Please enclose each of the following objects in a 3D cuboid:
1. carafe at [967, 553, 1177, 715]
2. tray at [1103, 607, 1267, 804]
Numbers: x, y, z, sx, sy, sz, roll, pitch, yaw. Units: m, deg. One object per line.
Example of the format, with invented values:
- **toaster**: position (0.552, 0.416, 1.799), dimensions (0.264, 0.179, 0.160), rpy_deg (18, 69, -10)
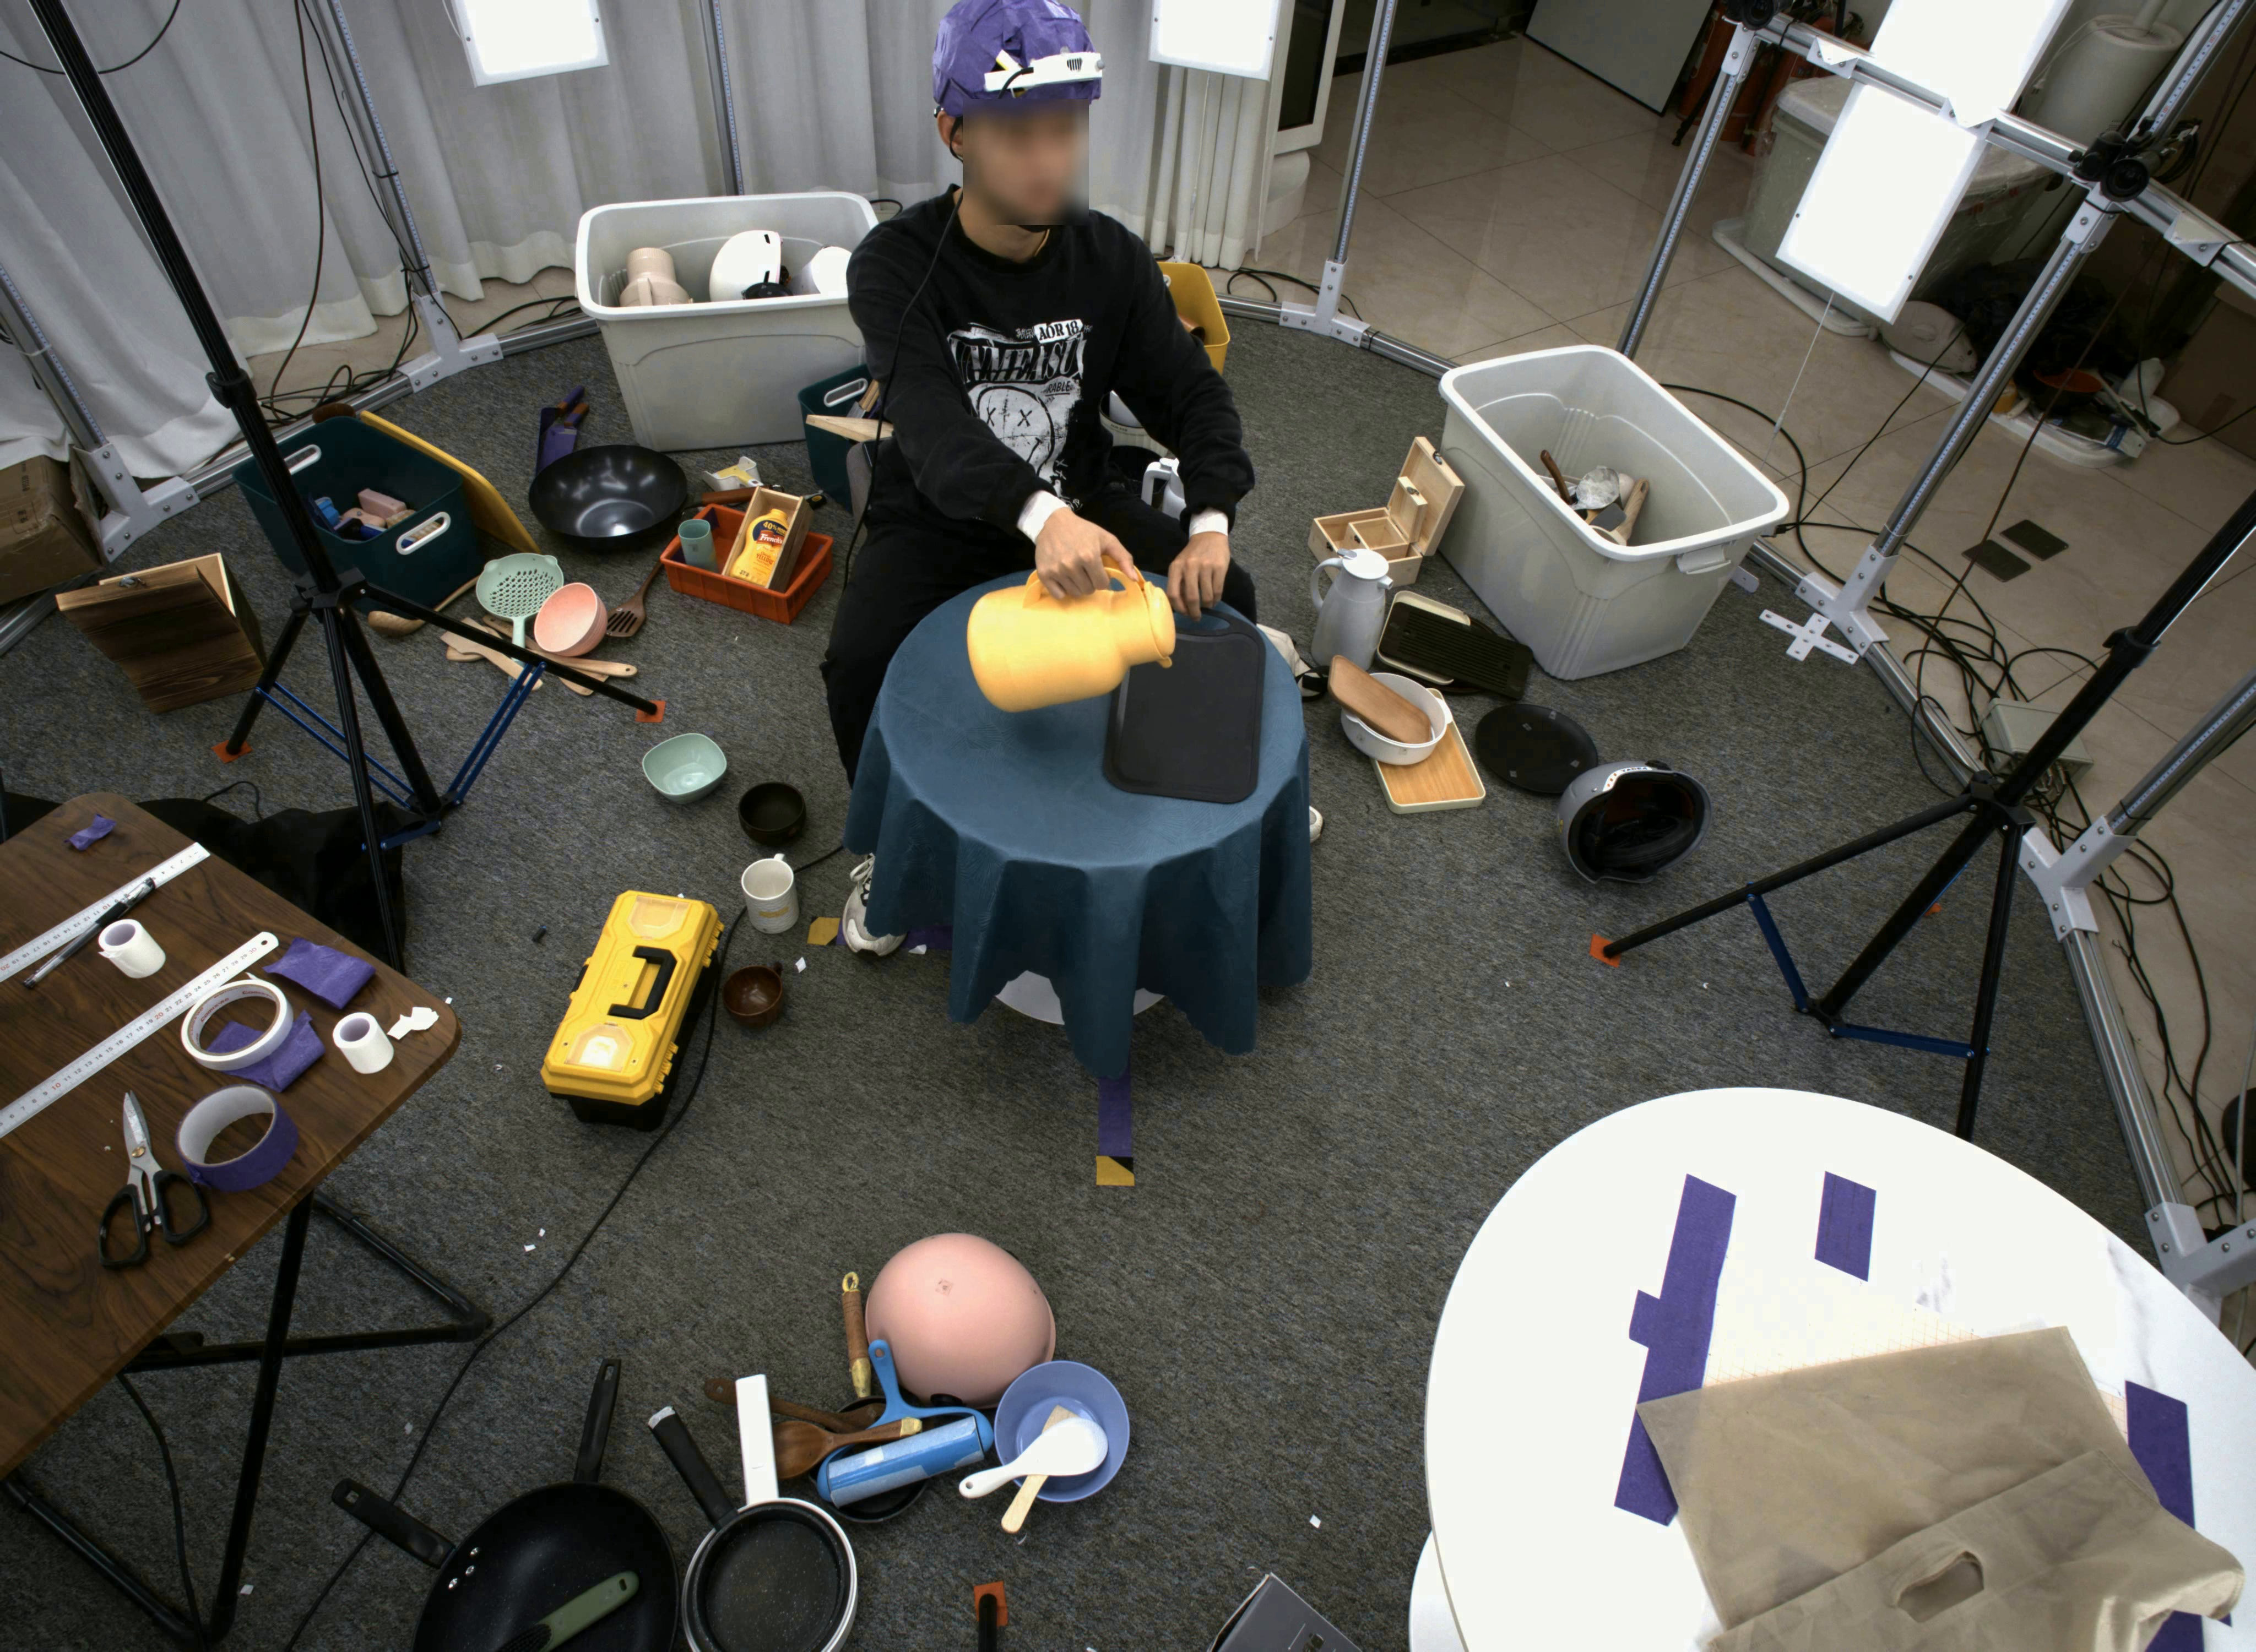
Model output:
- **carafe**: position (-0.074, -0.256, 1.661), dimensions (0.260, 0.197, 0.167), rpy_deg (-11, 46, 14)
- **tray**: position (0.083, -0.179, 1.789), dimensions (0.211, 0.009, 0.332), rpy_deg (7, 59, 2)
